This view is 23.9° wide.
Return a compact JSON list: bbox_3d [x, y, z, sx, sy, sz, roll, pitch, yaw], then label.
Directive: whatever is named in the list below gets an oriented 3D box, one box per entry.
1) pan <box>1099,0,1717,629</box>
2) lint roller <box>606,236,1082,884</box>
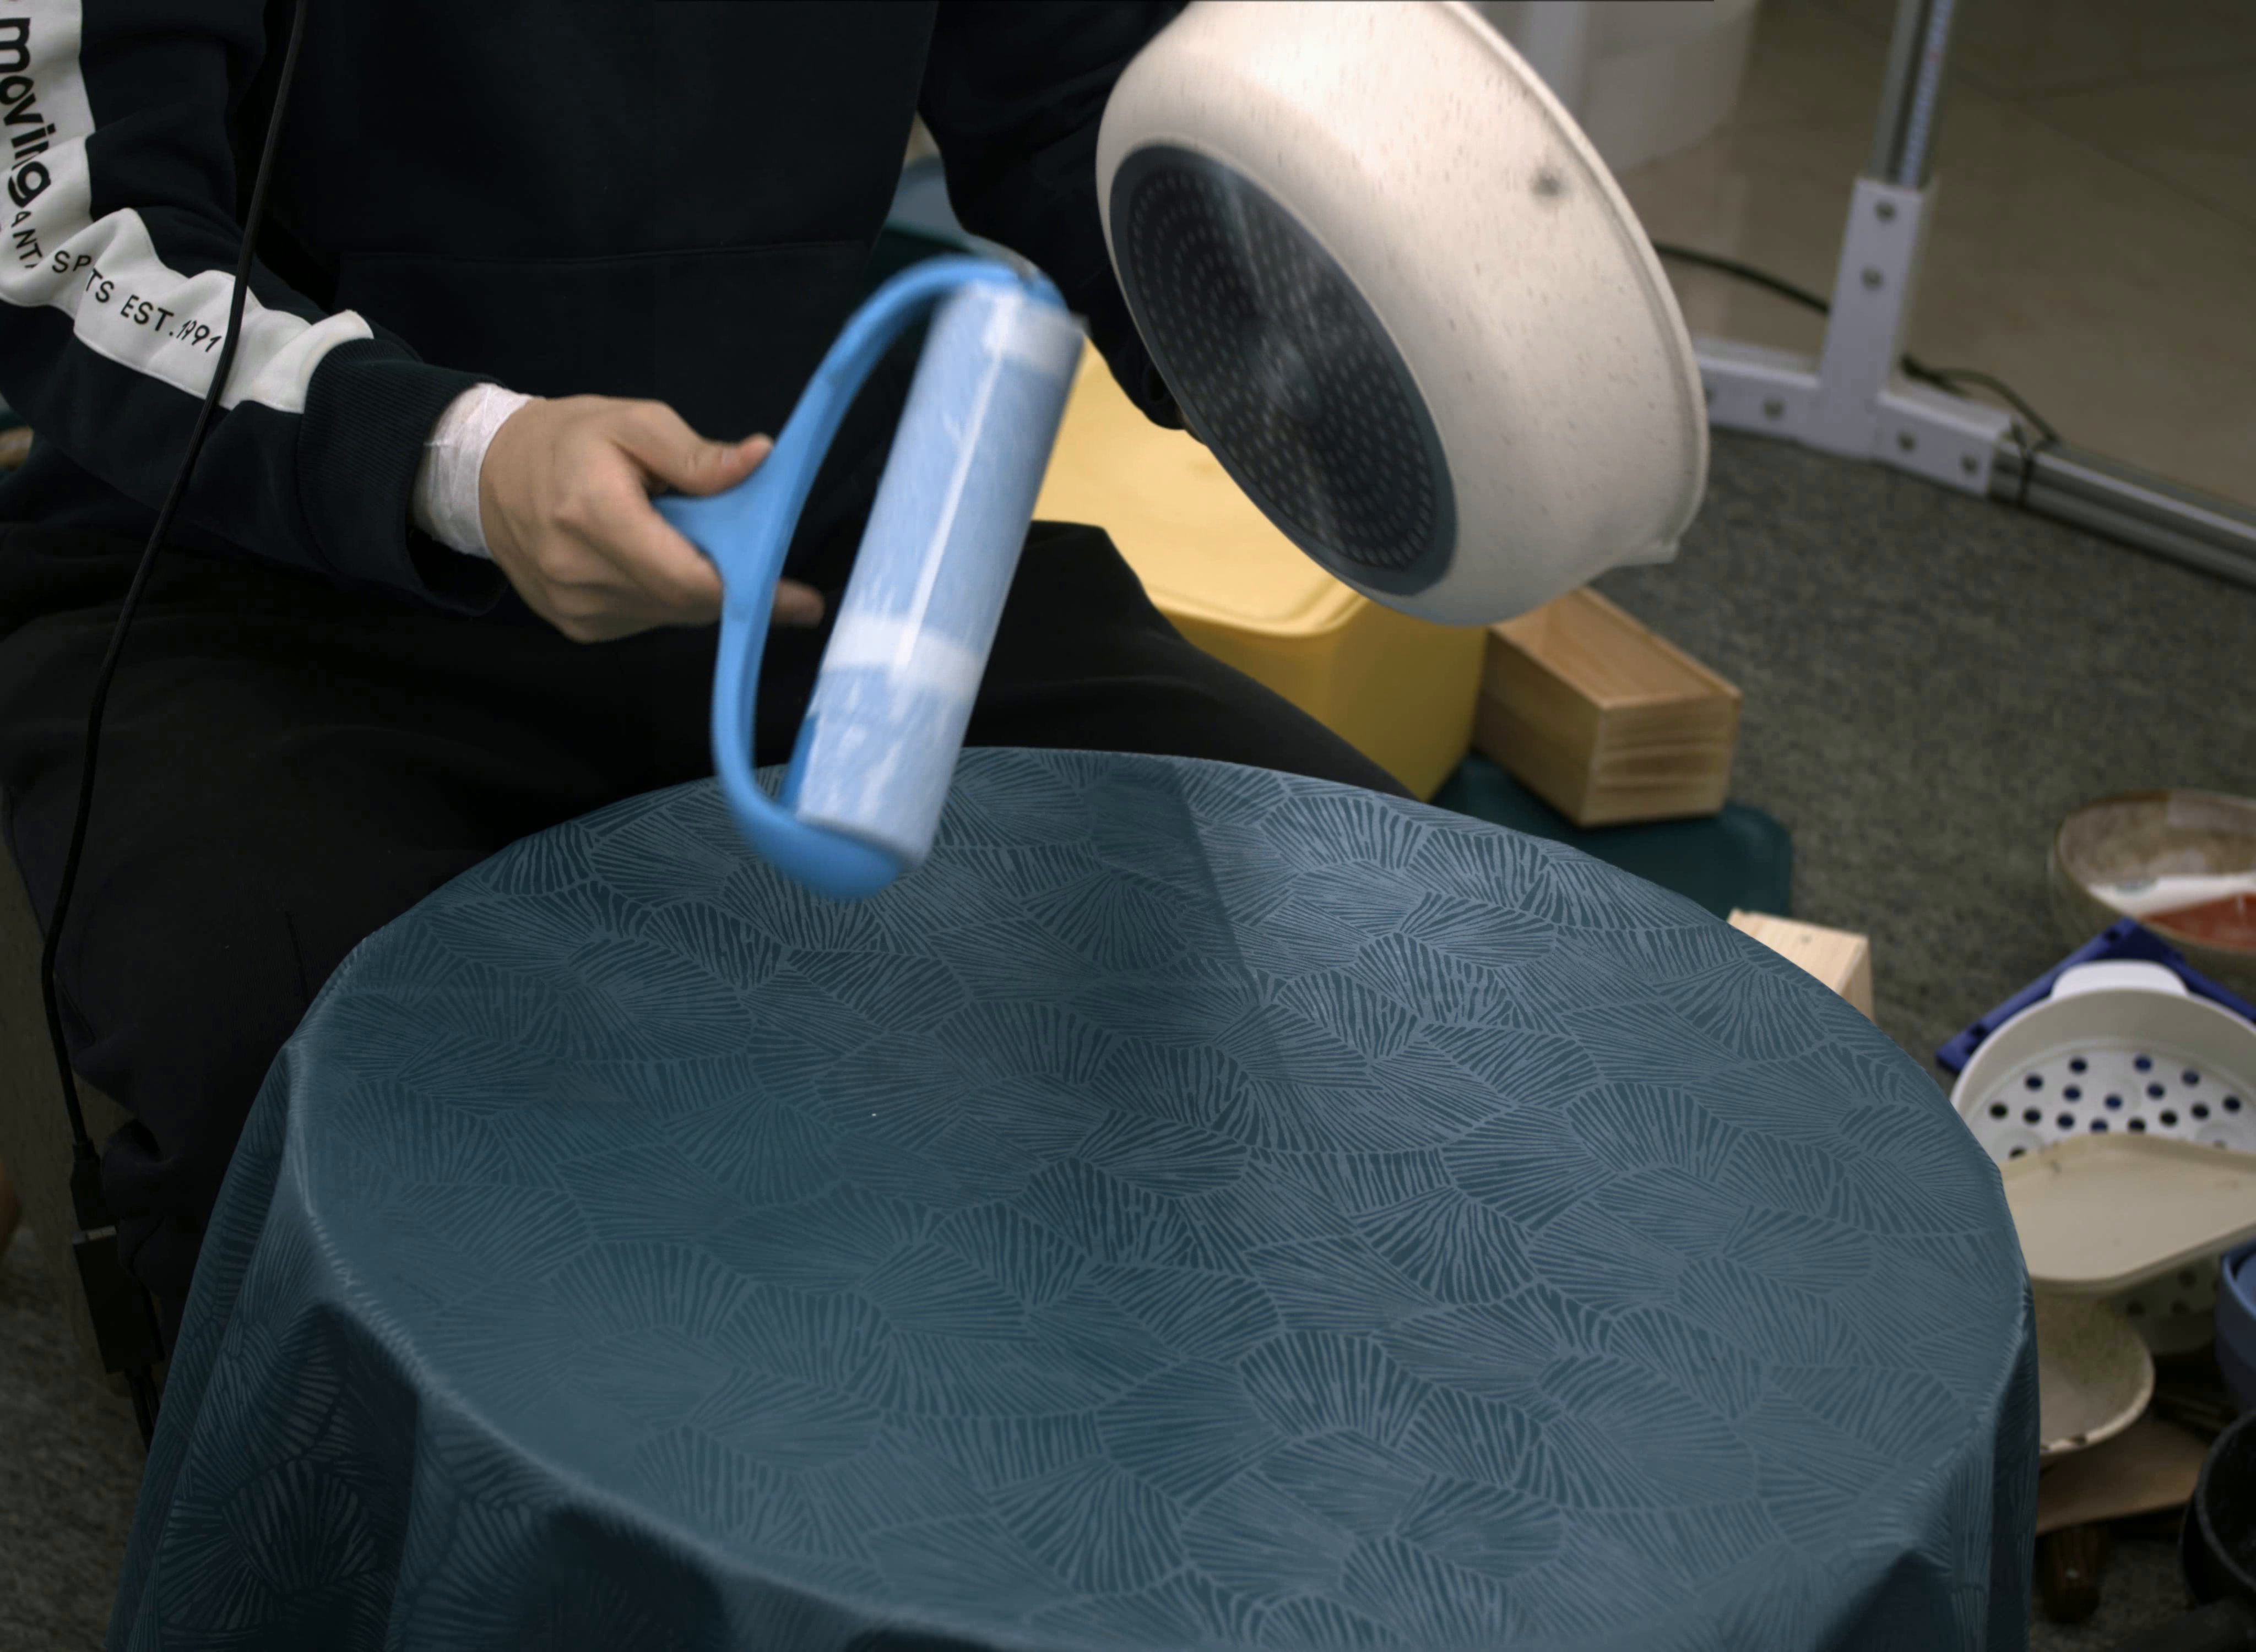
[{"bbox_3d":[0.061,-0.169,1.908,0.102,0.263,0.435,-36,4,-20],"label":"pan"},{"bbox_3d":[-0.117,-0.094,1.822,0.181,0.230,0.067,4,-16,28],"label":"lint roller"}]
